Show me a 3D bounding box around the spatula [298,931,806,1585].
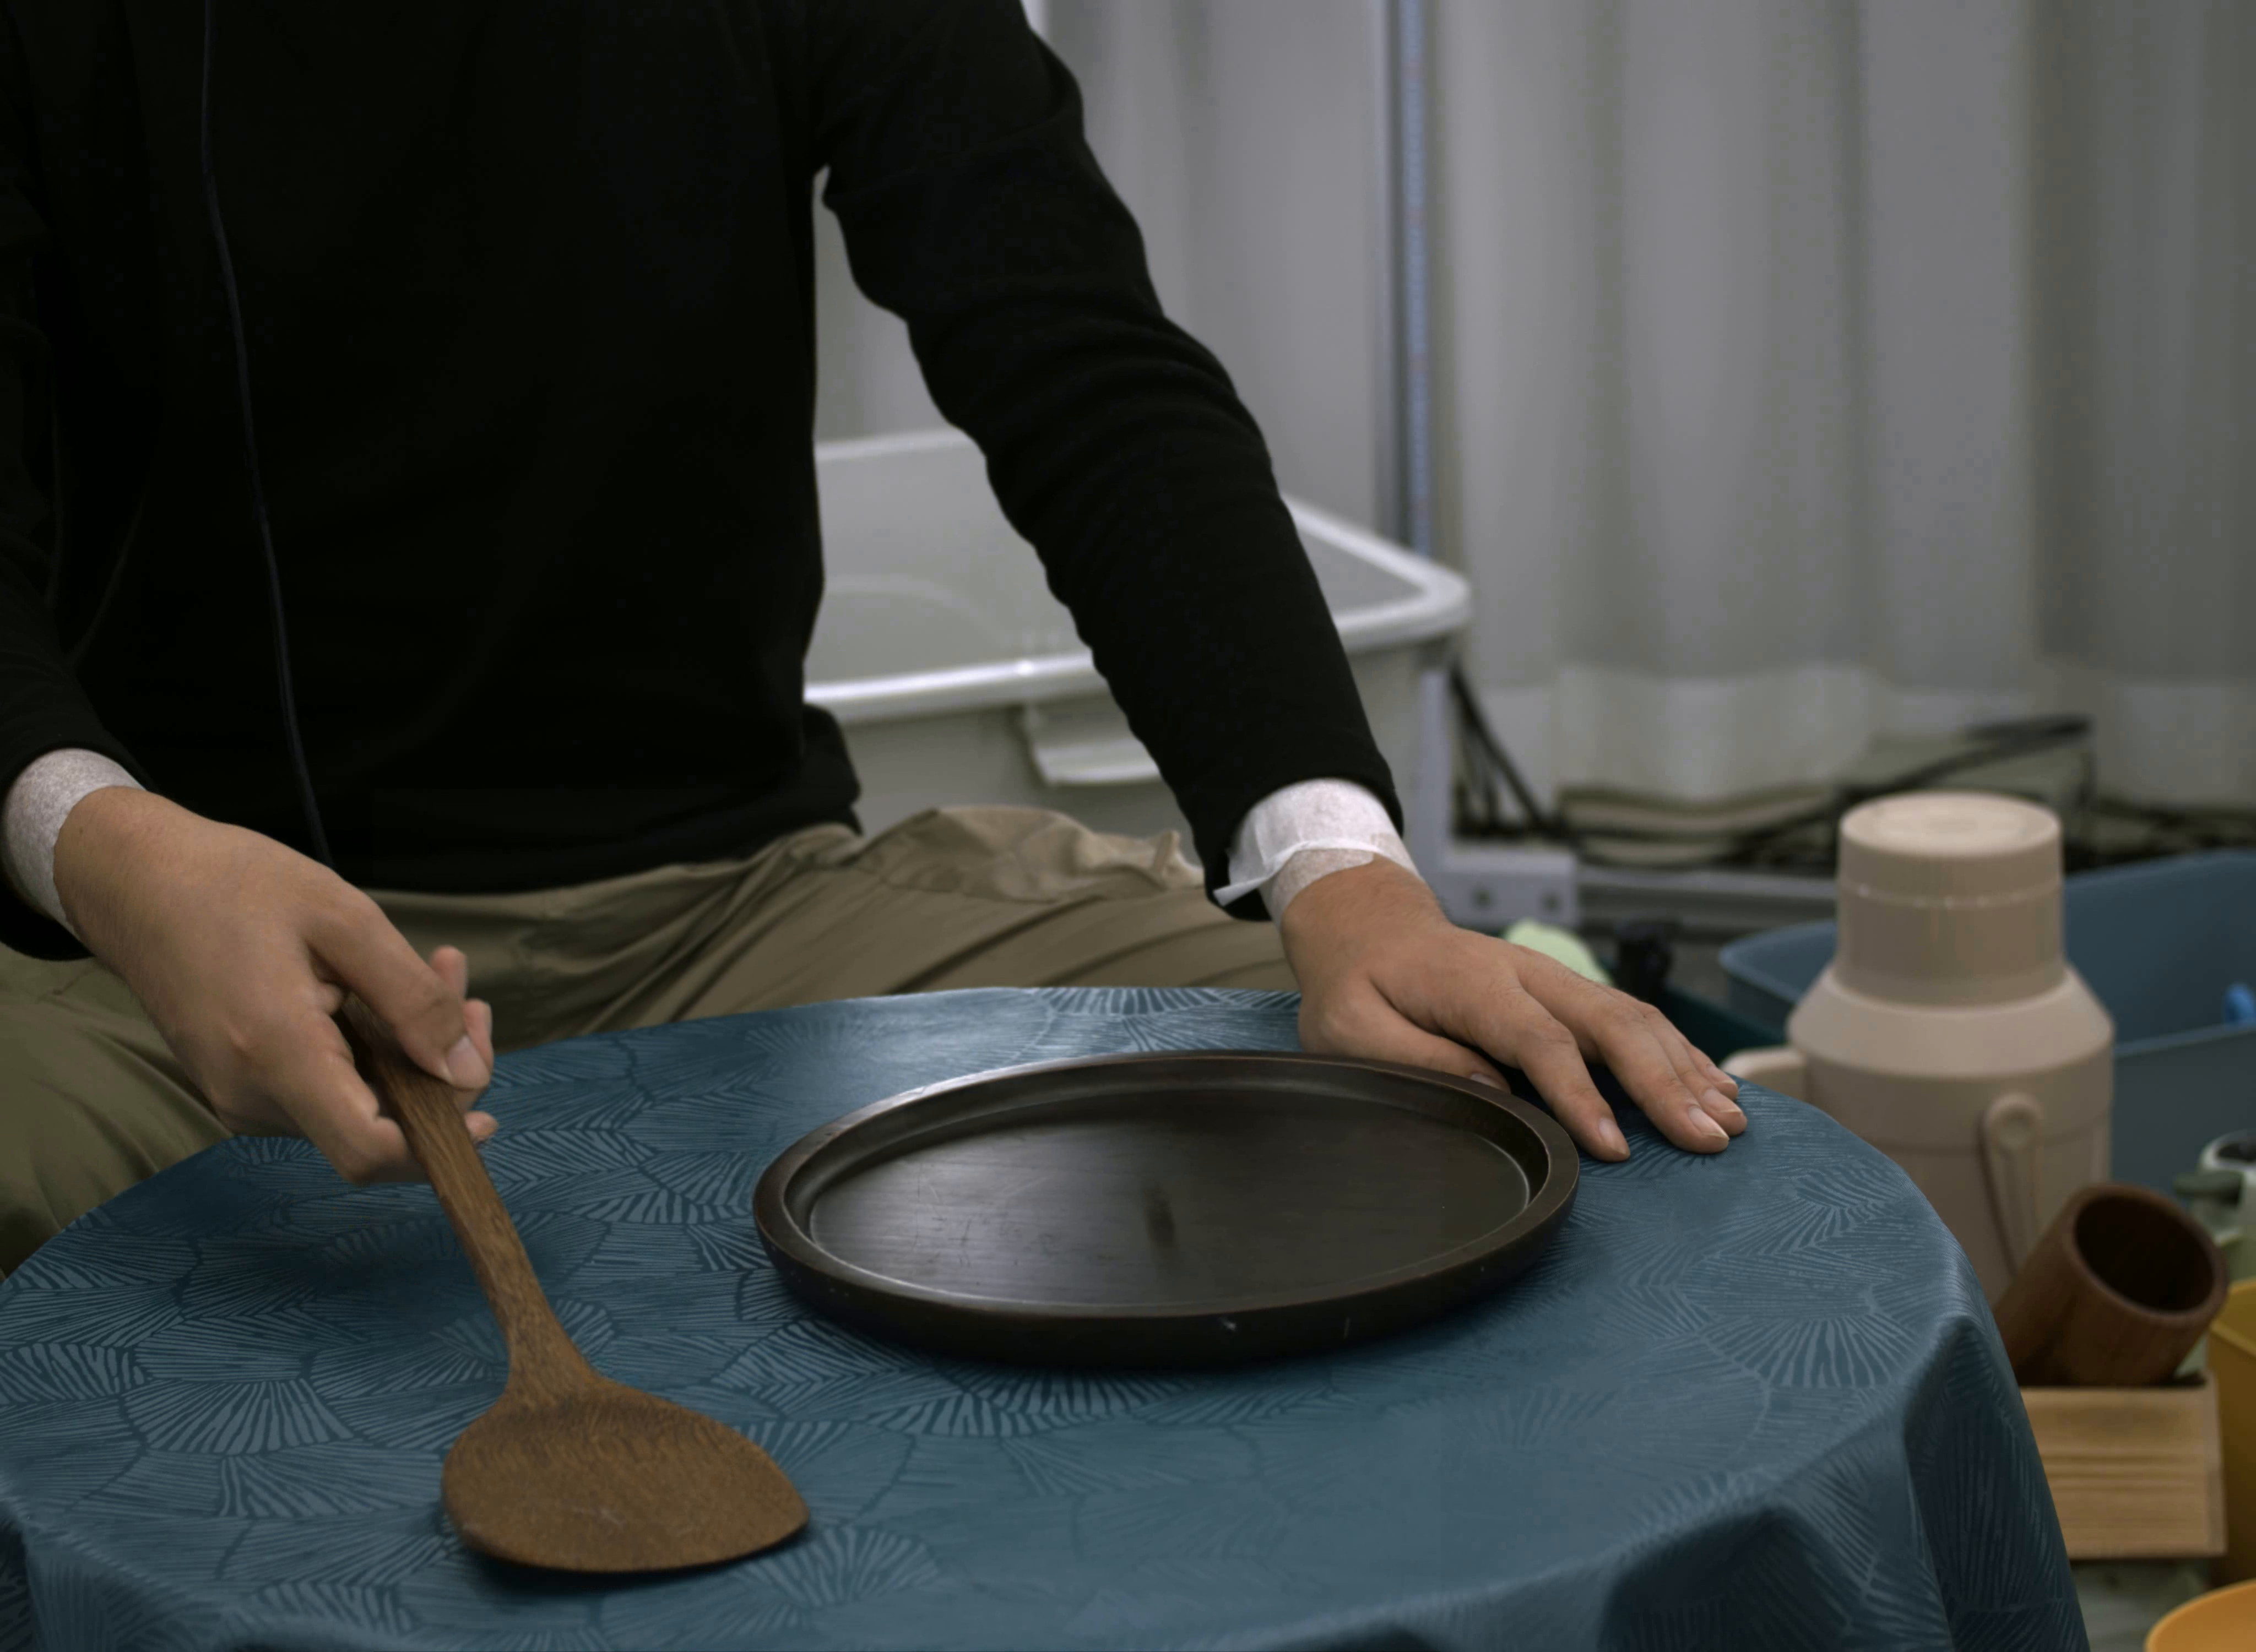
[{"bbox_3d":[-0.189,0.115,1.589,0.095,0.015,0.391,-4,27,-20],"label":"spatula"}]

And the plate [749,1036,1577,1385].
[{"bbox_3d":[0.011,0.116,1.666,0.254,0.029,0.256,-3,16,1],"label":"plate"}]
